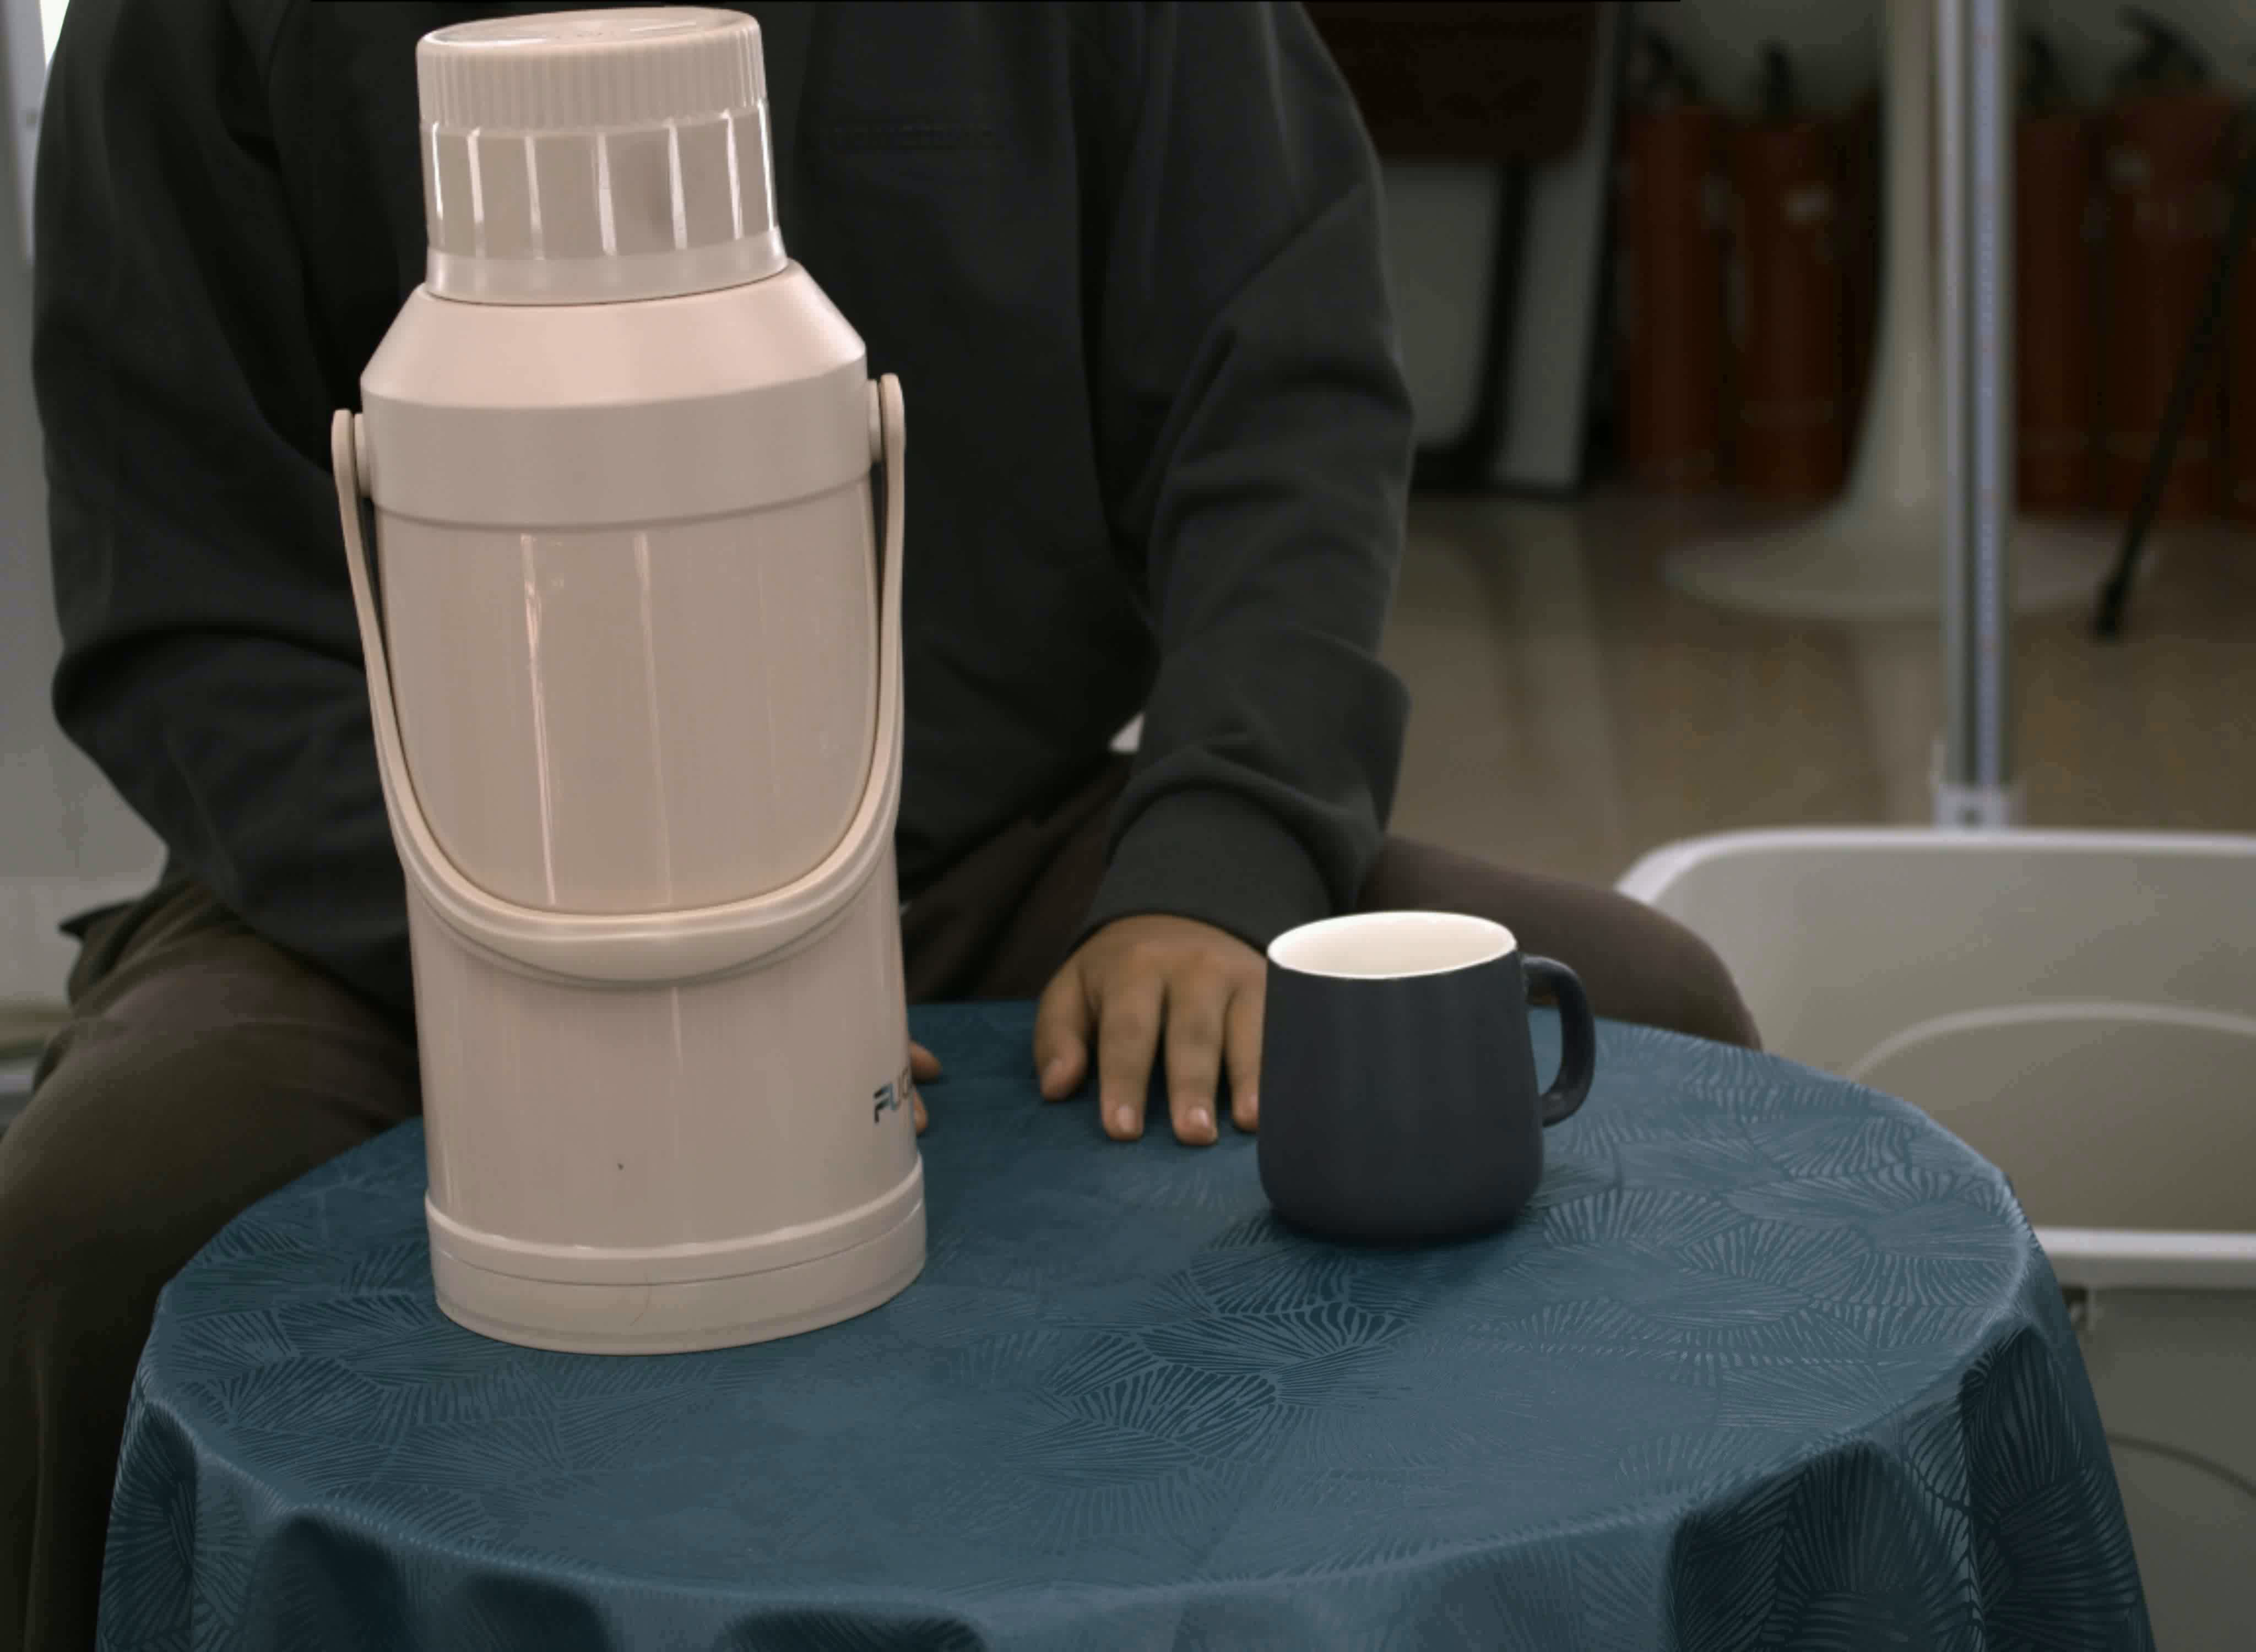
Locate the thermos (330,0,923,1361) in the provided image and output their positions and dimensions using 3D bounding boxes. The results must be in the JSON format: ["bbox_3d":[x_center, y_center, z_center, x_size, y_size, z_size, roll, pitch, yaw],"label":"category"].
[{"bbox_3d":[-0.152,-0.054,1.691,0.173,0.411,0.208,-5,14,-3],"label":"thermos"}]

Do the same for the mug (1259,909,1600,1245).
[{"bbox_3d":[0.100,0.078,1.732,0.120,0.091,0.094,-11,15,-27],"label":"mug"}]
